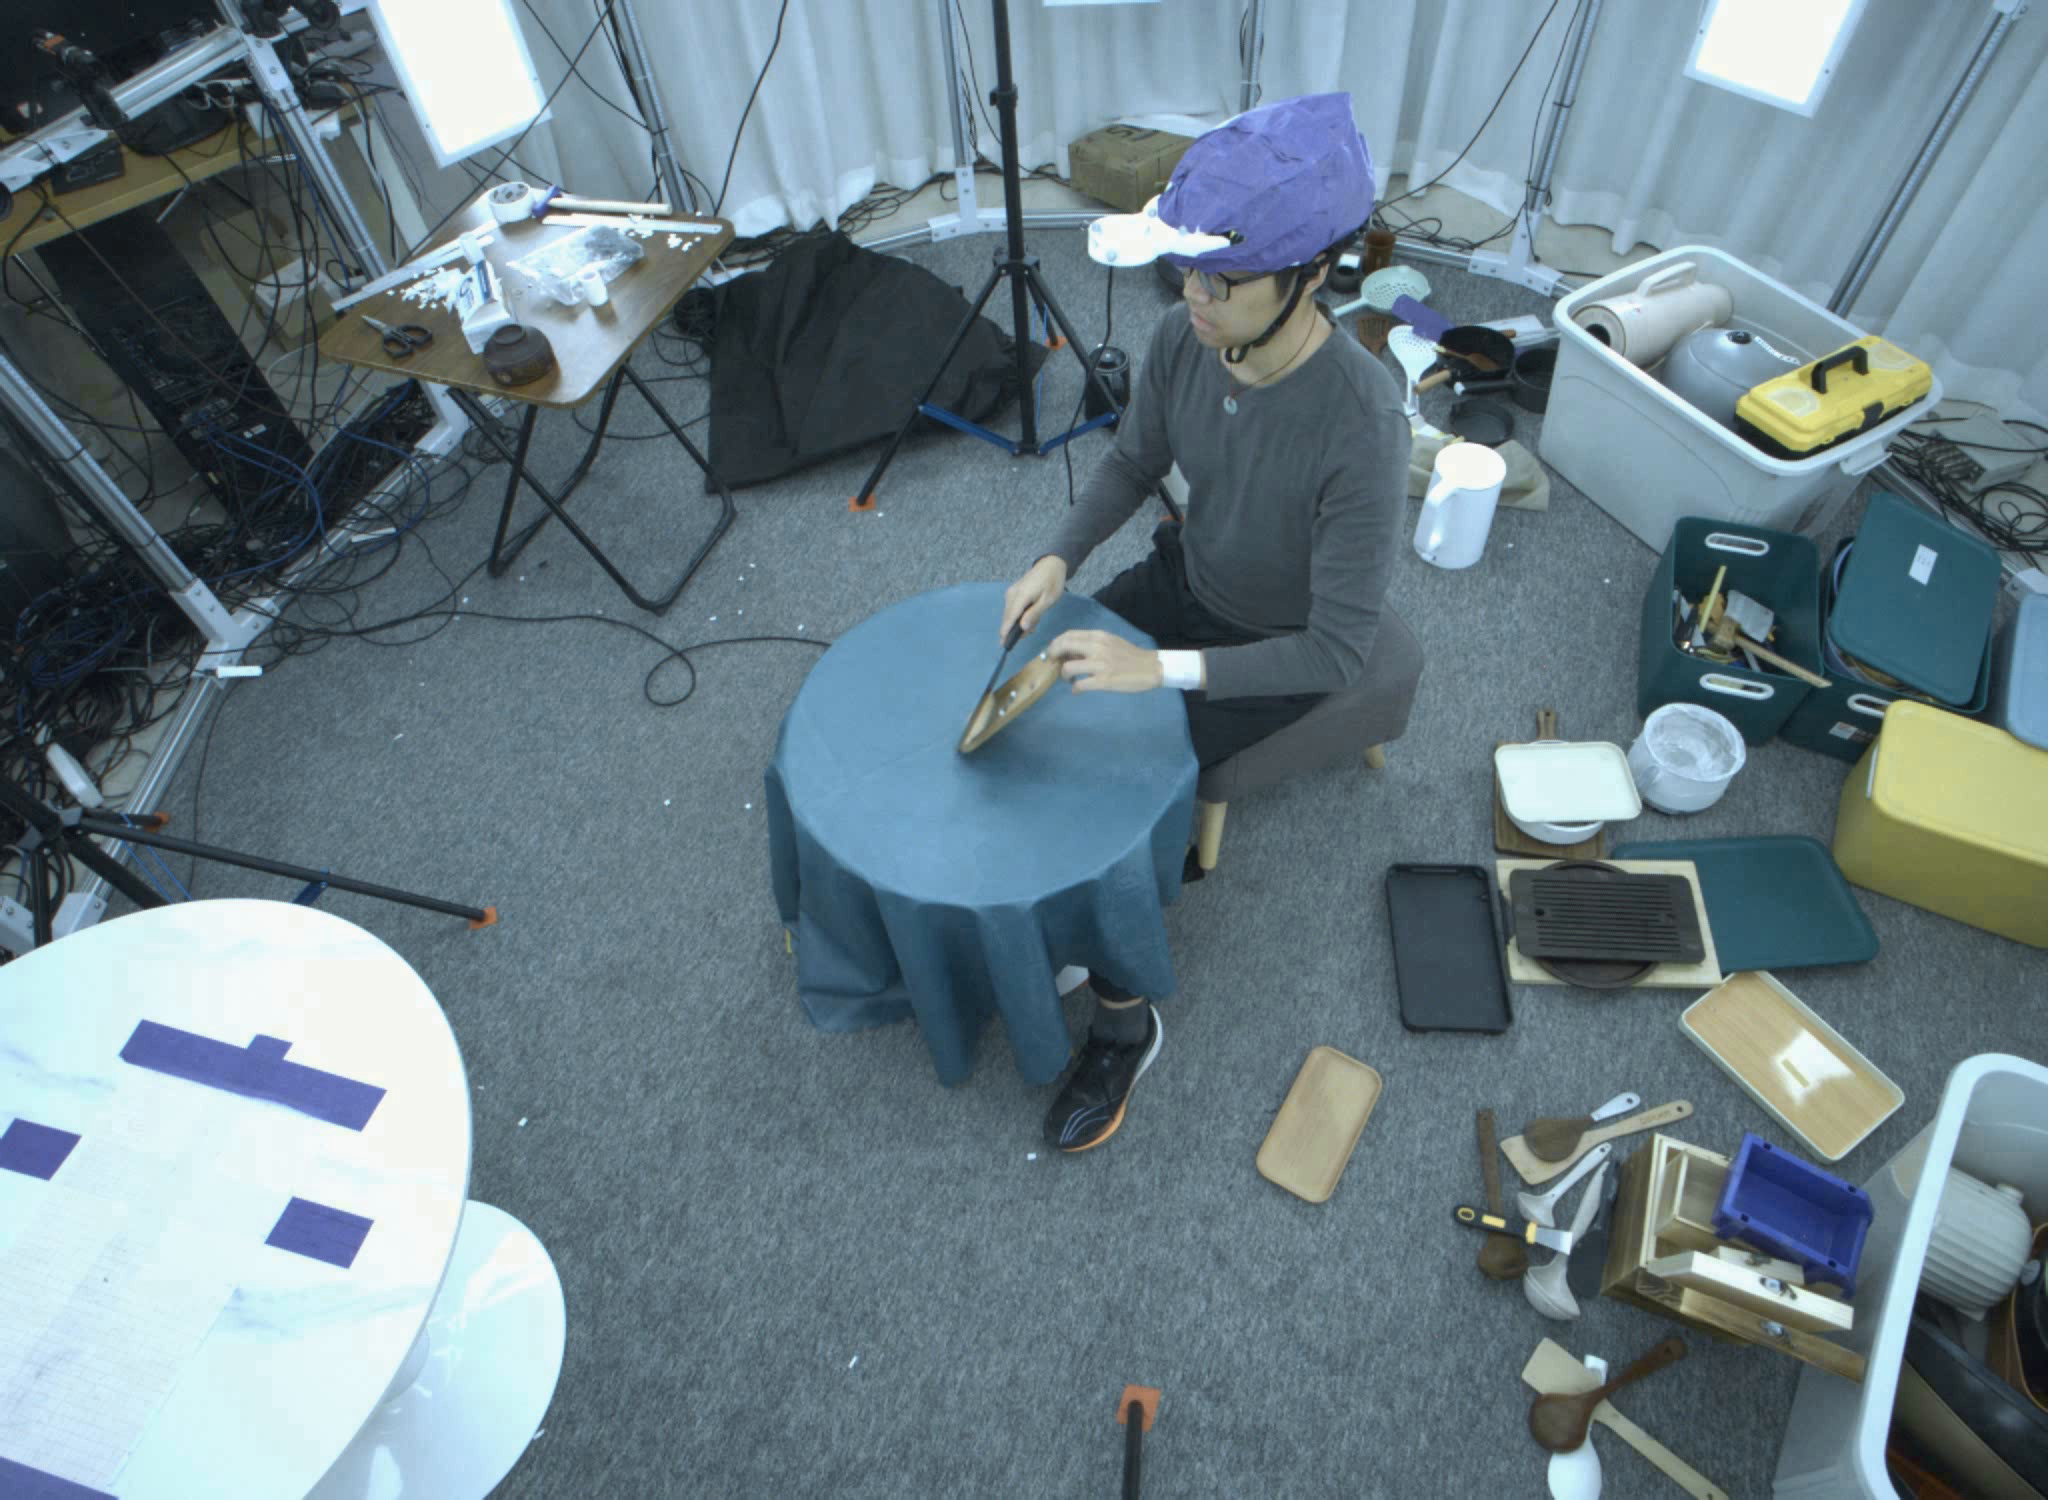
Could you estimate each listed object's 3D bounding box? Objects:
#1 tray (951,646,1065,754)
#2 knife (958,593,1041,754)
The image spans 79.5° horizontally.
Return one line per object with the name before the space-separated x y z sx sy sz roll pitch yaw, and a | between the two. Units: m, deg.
tray | -0.024 -0.068 1.735 0.020 0.229 0.101 40 36 -17
knife | -0.035 -0.118 1.772 0.021 0.081 0.302 23 57 3
